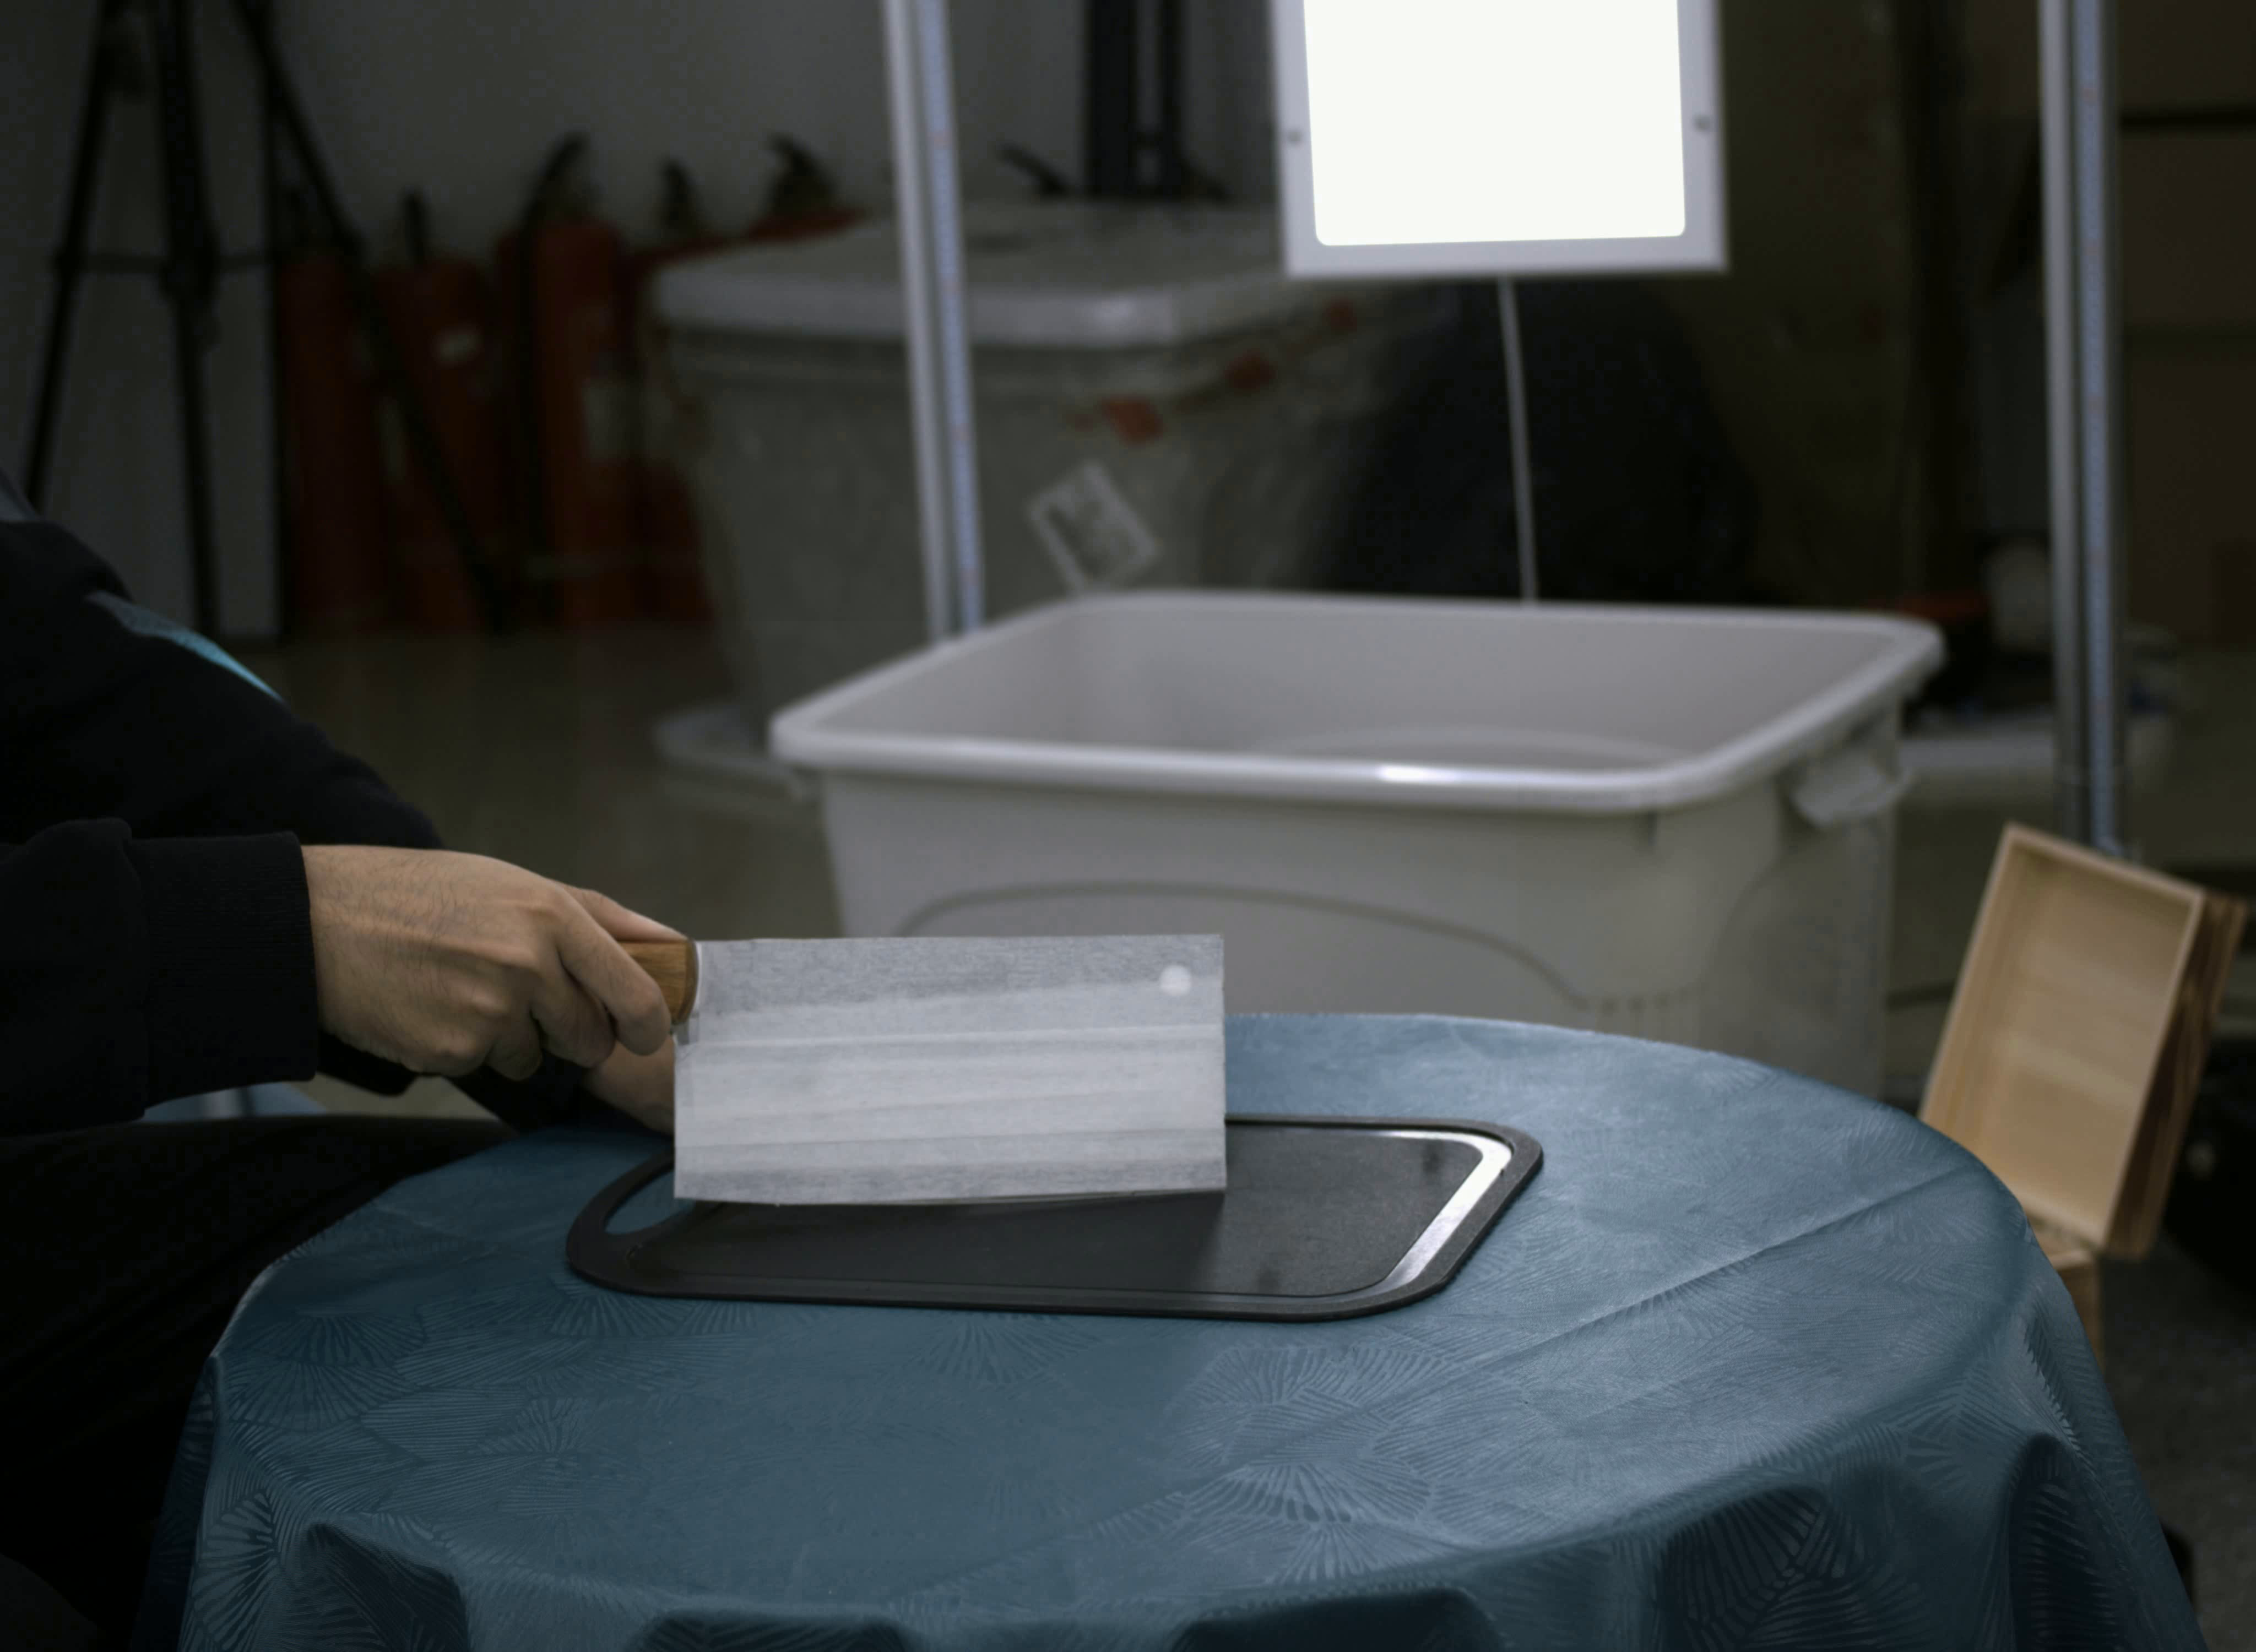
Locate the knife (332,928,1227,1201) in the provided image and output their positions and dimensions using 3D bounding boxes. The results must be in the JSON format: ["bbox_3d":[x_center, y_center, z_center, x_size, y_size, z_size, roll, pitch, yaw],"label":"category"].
[{"bbox_3d":[-0.119,0.082,1.883,0.305,0.093,0.021,-1,5,2],"label":"knife"}]

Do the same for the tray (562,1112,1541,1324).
[{"bbox_3d":[-0.032,0.128,1.886,0.330,0.010,0.207,1,15,21],"label":"tray"}]
